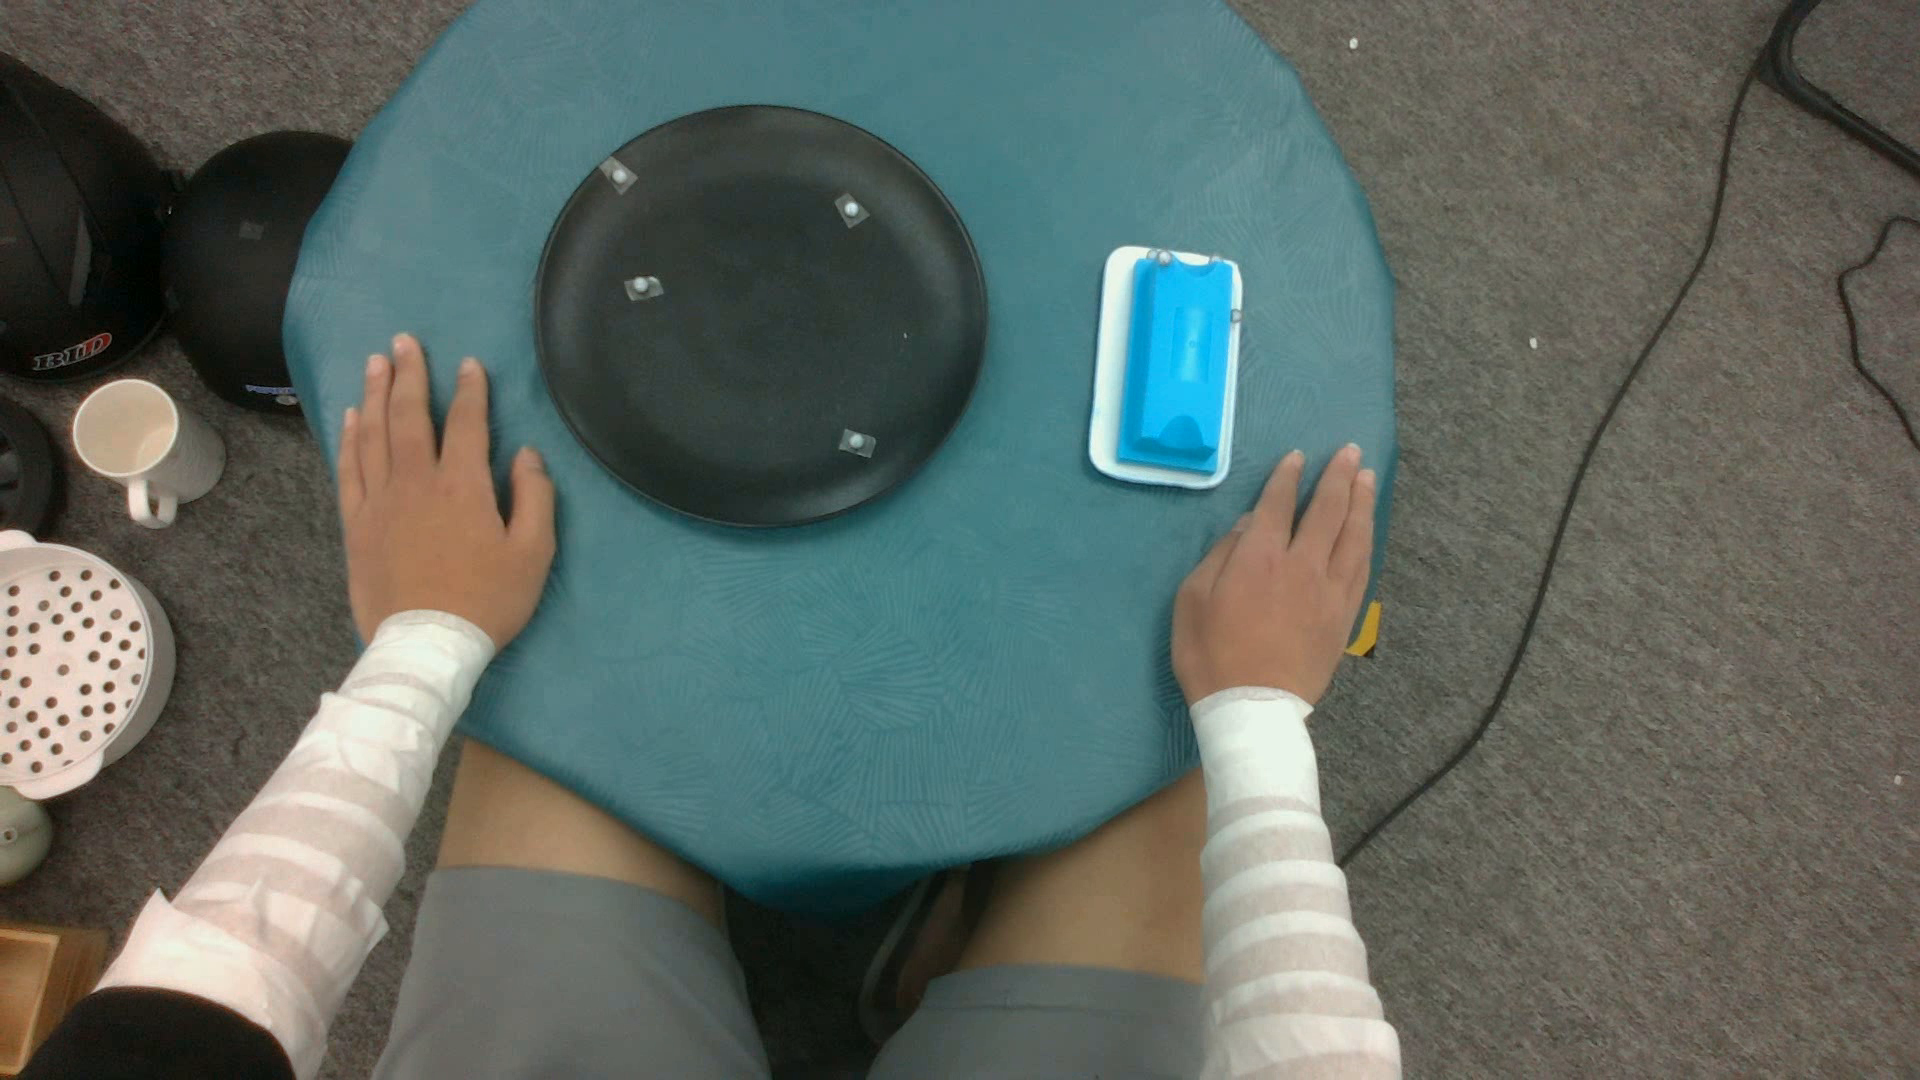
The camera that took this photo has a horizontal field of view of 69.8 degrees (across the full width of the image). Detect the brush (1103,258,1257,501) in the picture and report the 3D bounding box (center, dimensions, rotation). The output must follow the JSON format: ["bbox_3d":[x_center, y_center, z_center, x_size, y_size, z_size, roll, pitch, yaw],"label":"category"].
[{"bbox_3d":[0.126,-0.095,0.763,0.084,0.056,0.144,5,73,0],"label":"brush"}]

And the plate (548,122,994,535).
[{"bbox_3d":[-0.103,-0.119,0.767,0.244,0.023,0.245,1,76,-5],"label":"plate"}]
